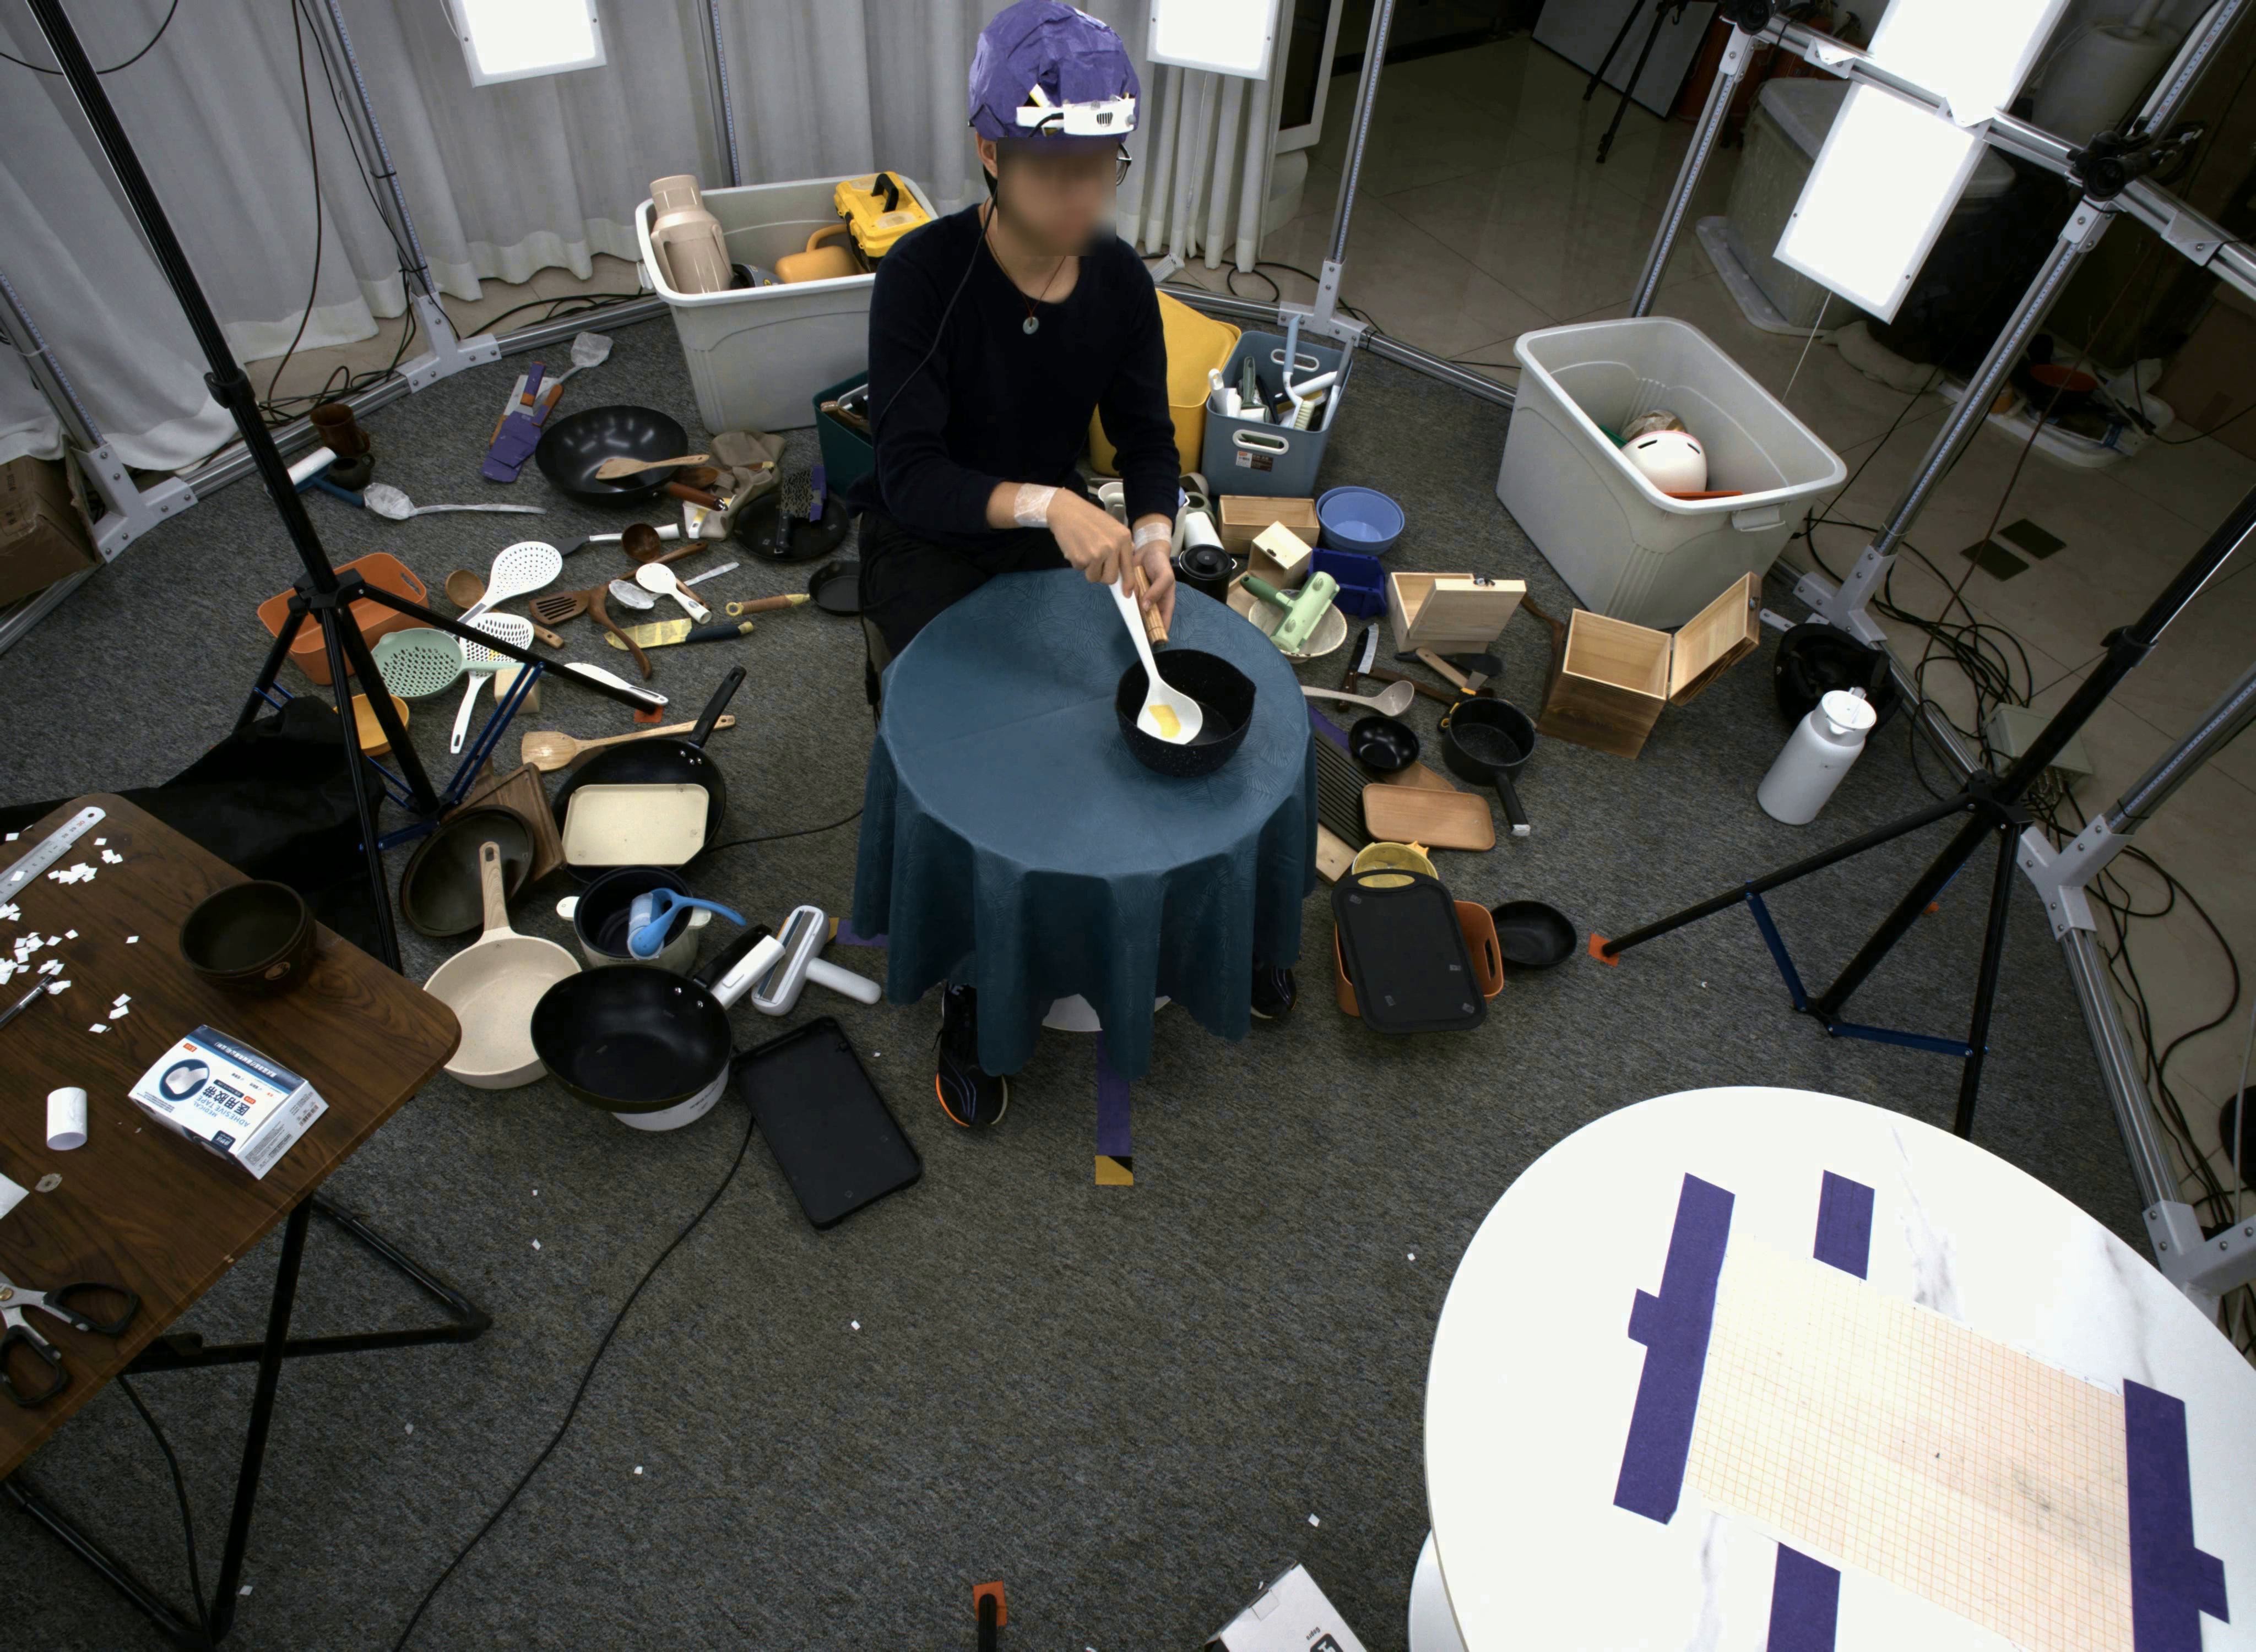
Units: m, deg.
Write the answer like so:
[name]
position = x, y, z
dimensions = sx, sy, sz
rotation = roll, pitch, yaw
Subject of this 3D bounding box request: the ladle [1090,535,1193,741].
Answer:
[ladle]
position = 0.009, -0.241, 1.720
dimensions = 0.090, 0.288, 0.071
rotation = -15, 23, 12

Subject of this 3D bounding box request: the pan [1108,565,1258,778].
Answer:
[pan]
position = 0.053, -0.216, 1.791
dimensions = 0.207, 0.105, 0.351
rotation = -11, 52, -12
